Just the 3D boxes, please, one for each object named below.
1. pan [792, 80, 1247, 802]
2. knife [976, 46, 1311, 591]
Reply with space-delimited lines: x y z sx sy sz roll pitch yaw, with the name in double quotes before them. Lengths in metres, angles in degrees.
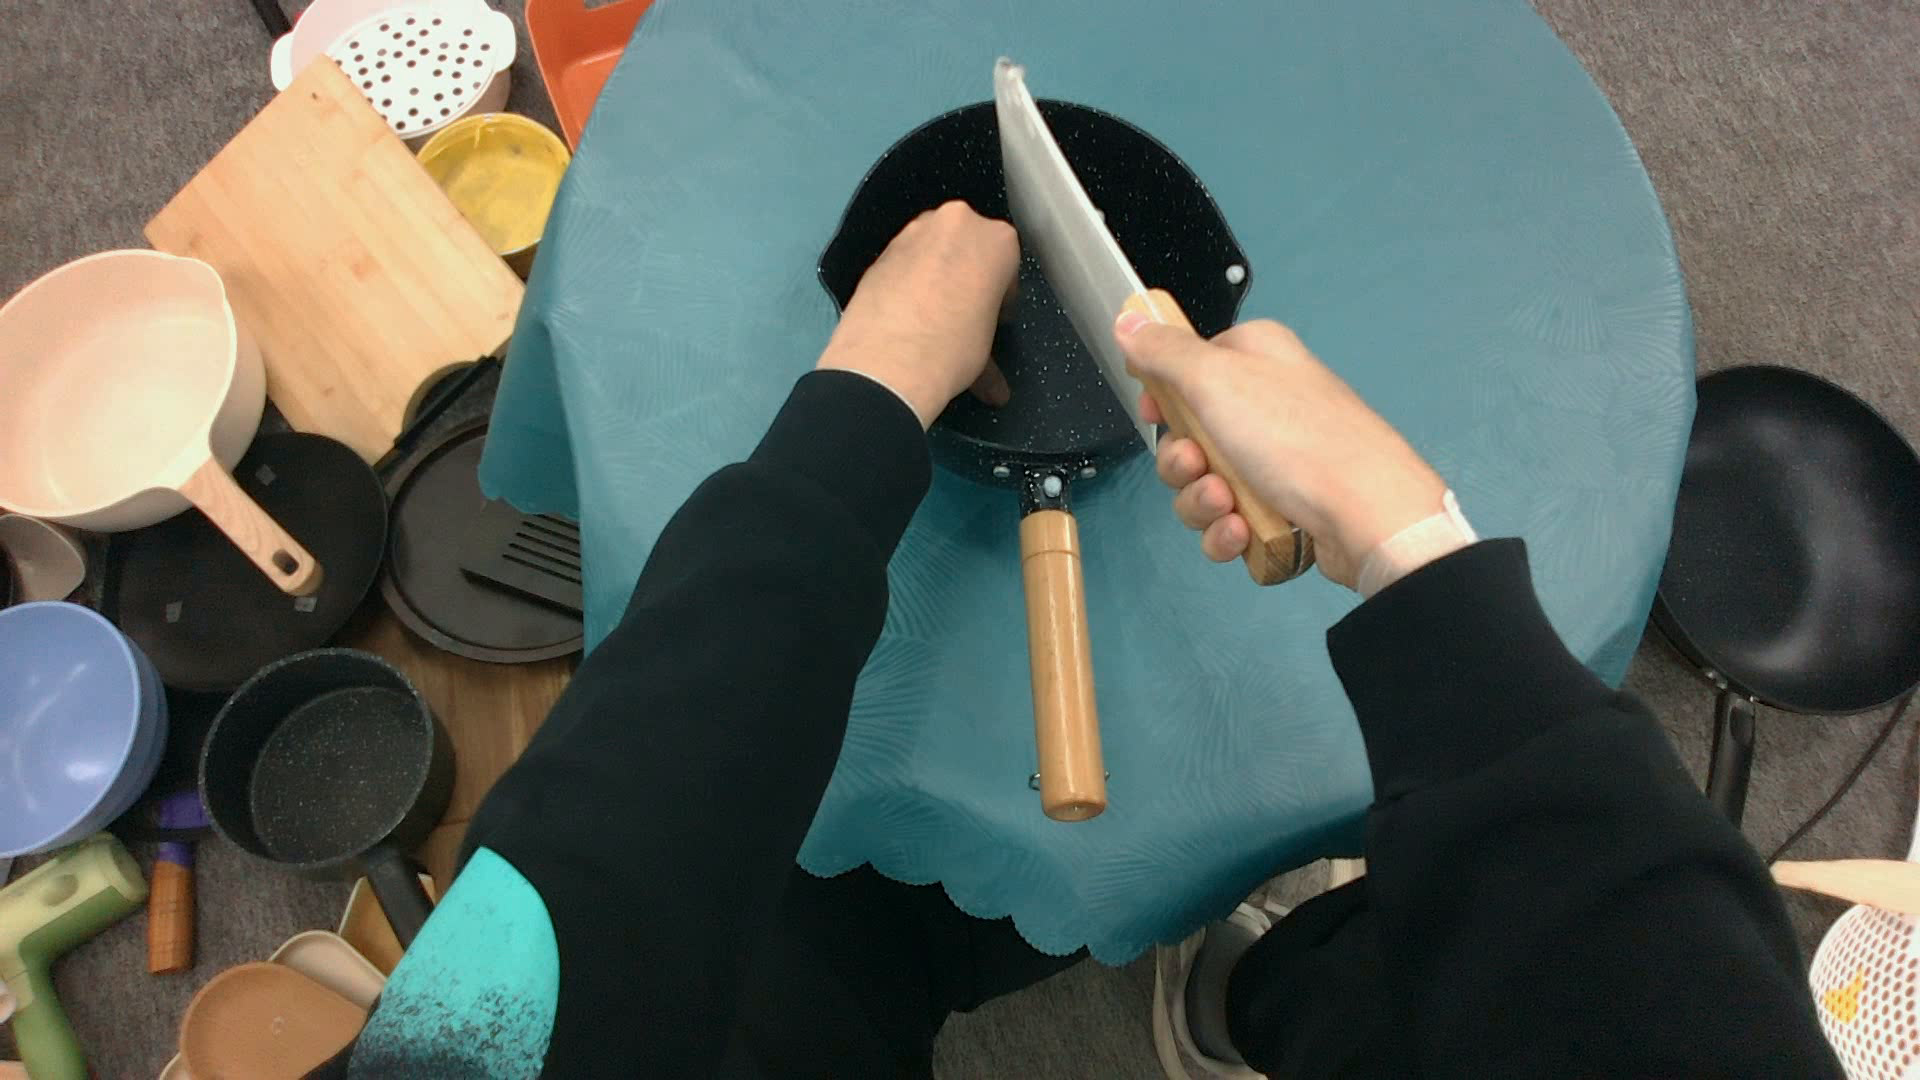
"pan" 0.031 -0.046 0.625 0.207 0.108 0.344 -2 69 -6
"knife" 0.059 -0.097 0.565 0.022 0.113 0.316 -20 47 -6
